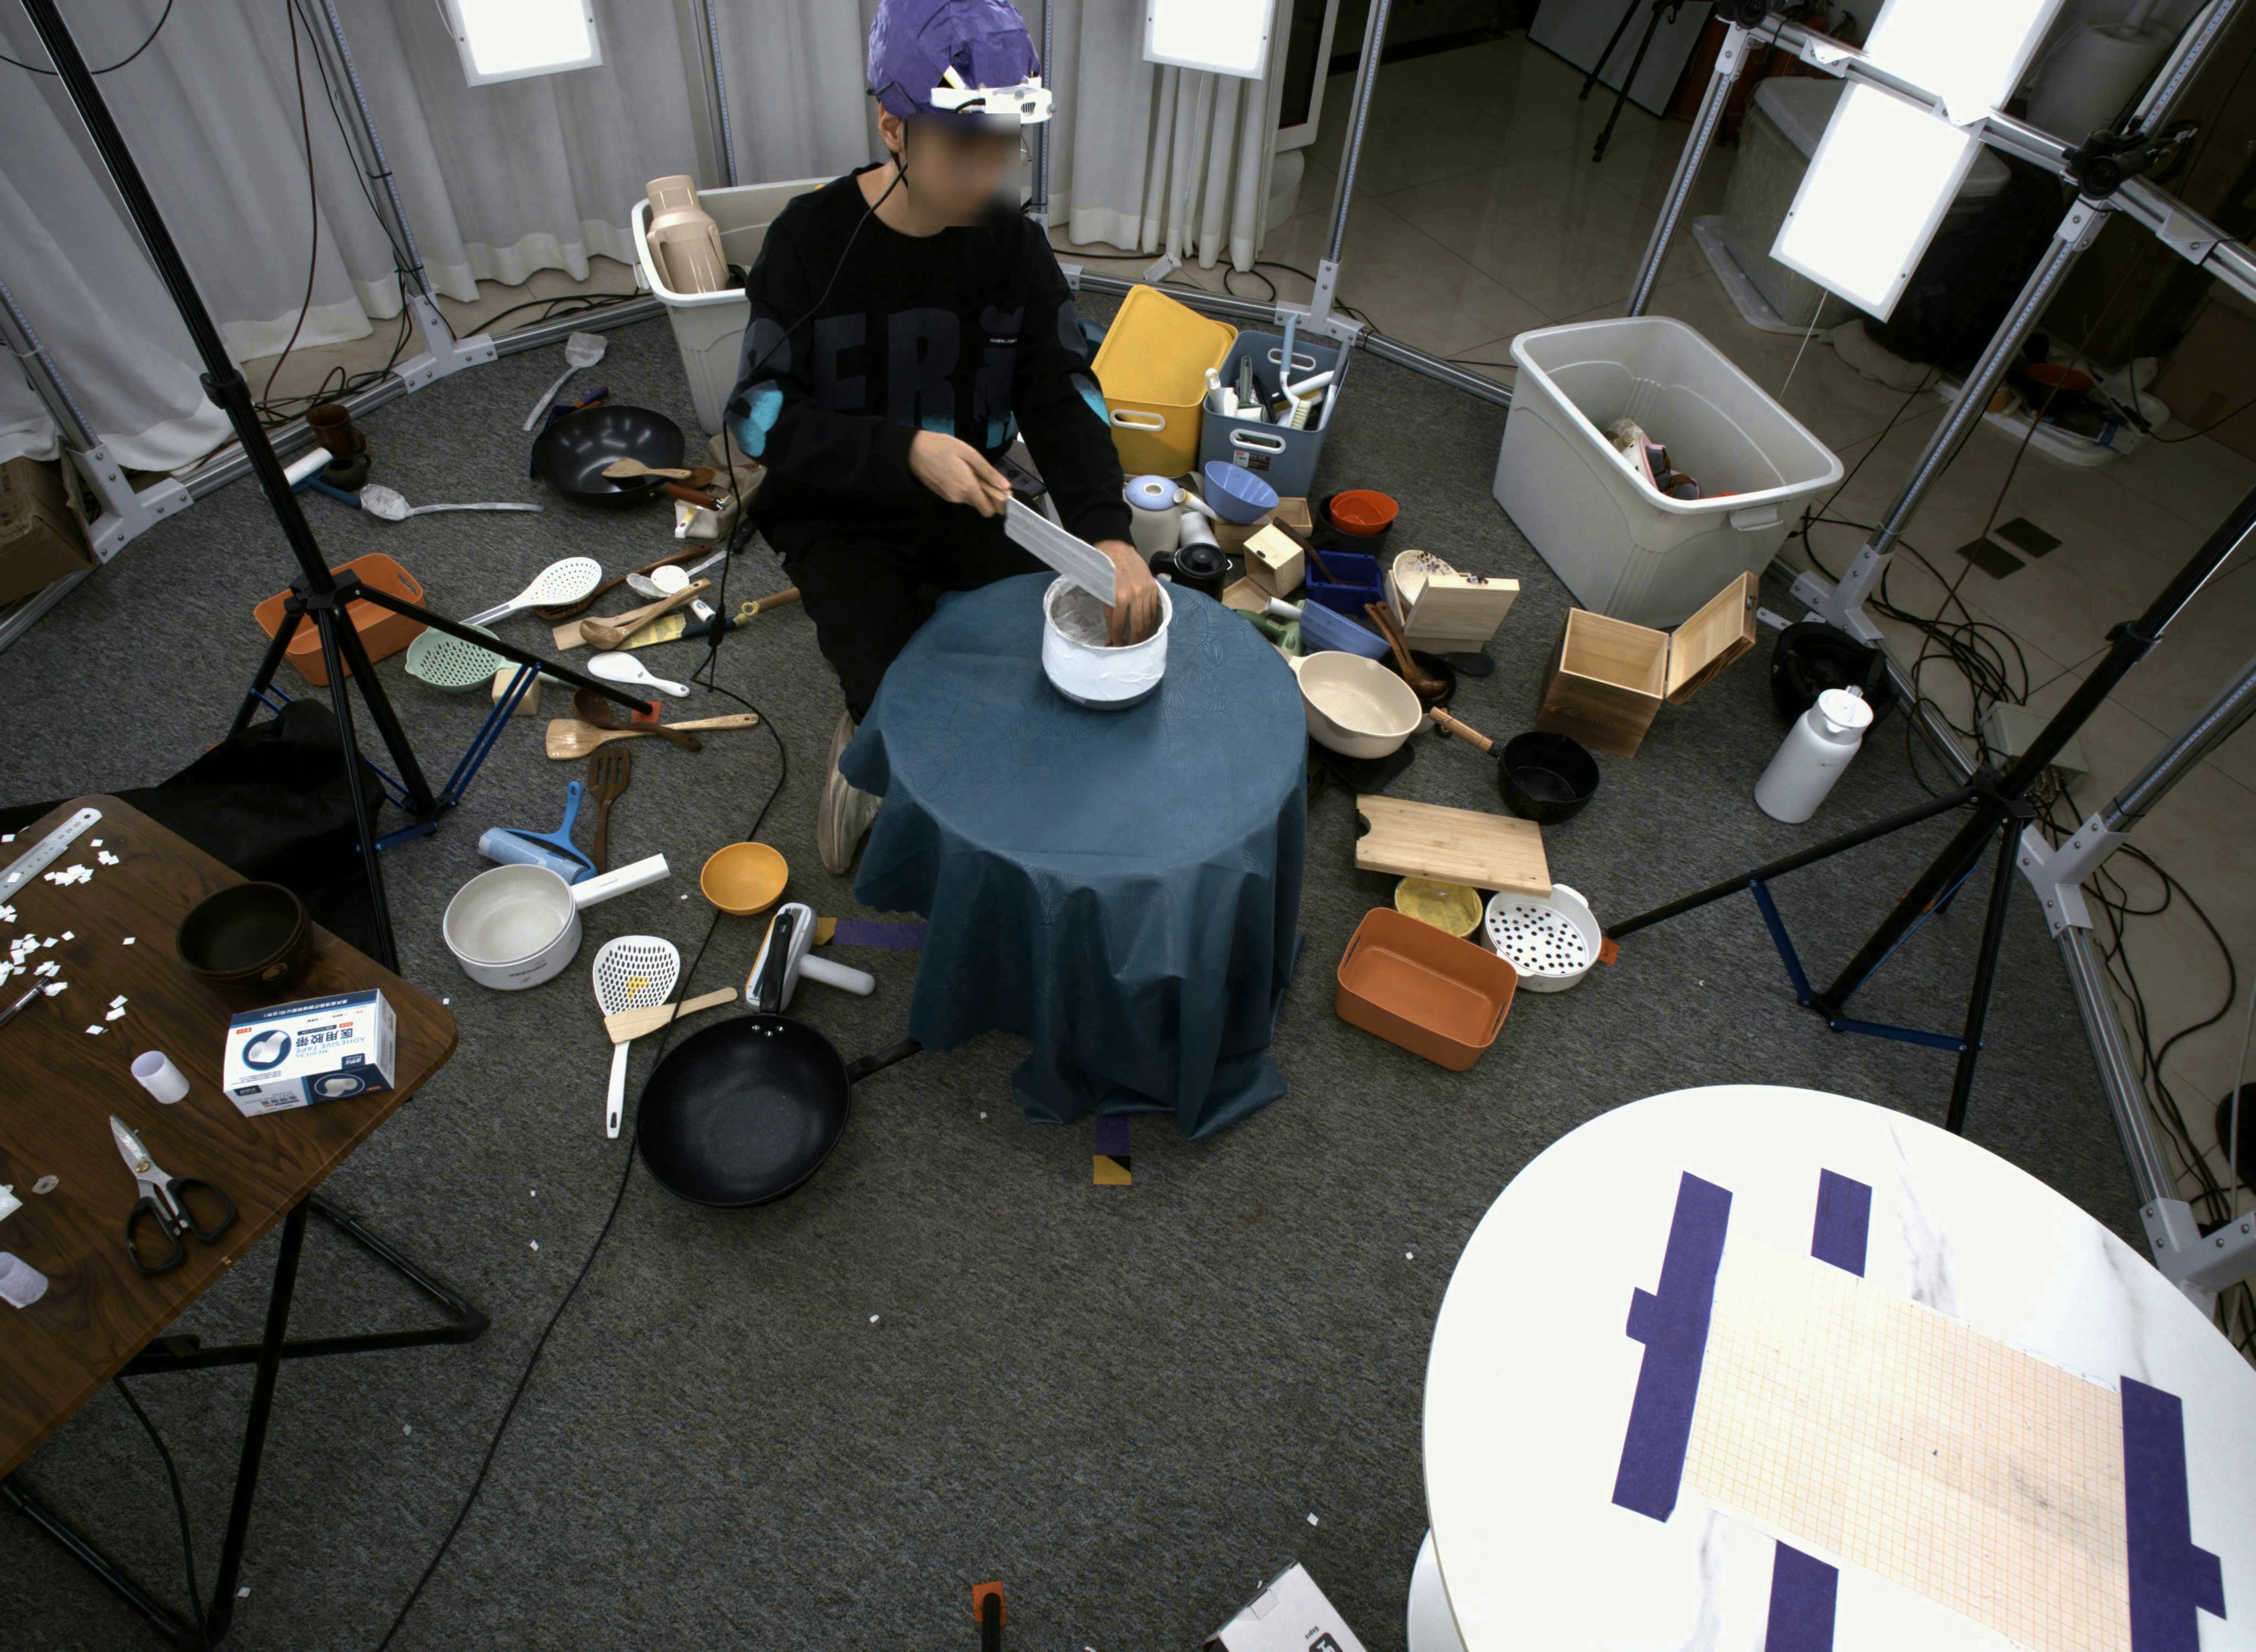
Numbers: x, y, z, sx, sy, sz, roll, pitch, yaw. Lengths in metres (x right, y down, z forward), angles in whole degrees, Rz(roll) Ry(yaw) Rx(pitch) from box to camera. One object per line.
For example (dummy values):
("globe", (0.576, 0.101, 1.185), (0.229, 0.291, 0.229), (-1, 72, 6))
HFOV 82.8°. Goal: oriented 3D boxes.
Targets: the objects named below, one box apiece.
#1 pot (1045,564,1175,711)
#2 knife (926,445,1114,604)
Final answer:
("pot", (-0.036, -0.282, 1.823), (0.178, 0.133, 0.239), (-11, 52, -14))
("knife", (-0.137, -0.400, 1.684), (0.317, 0.112, 0.022), (37, 67, 11))
